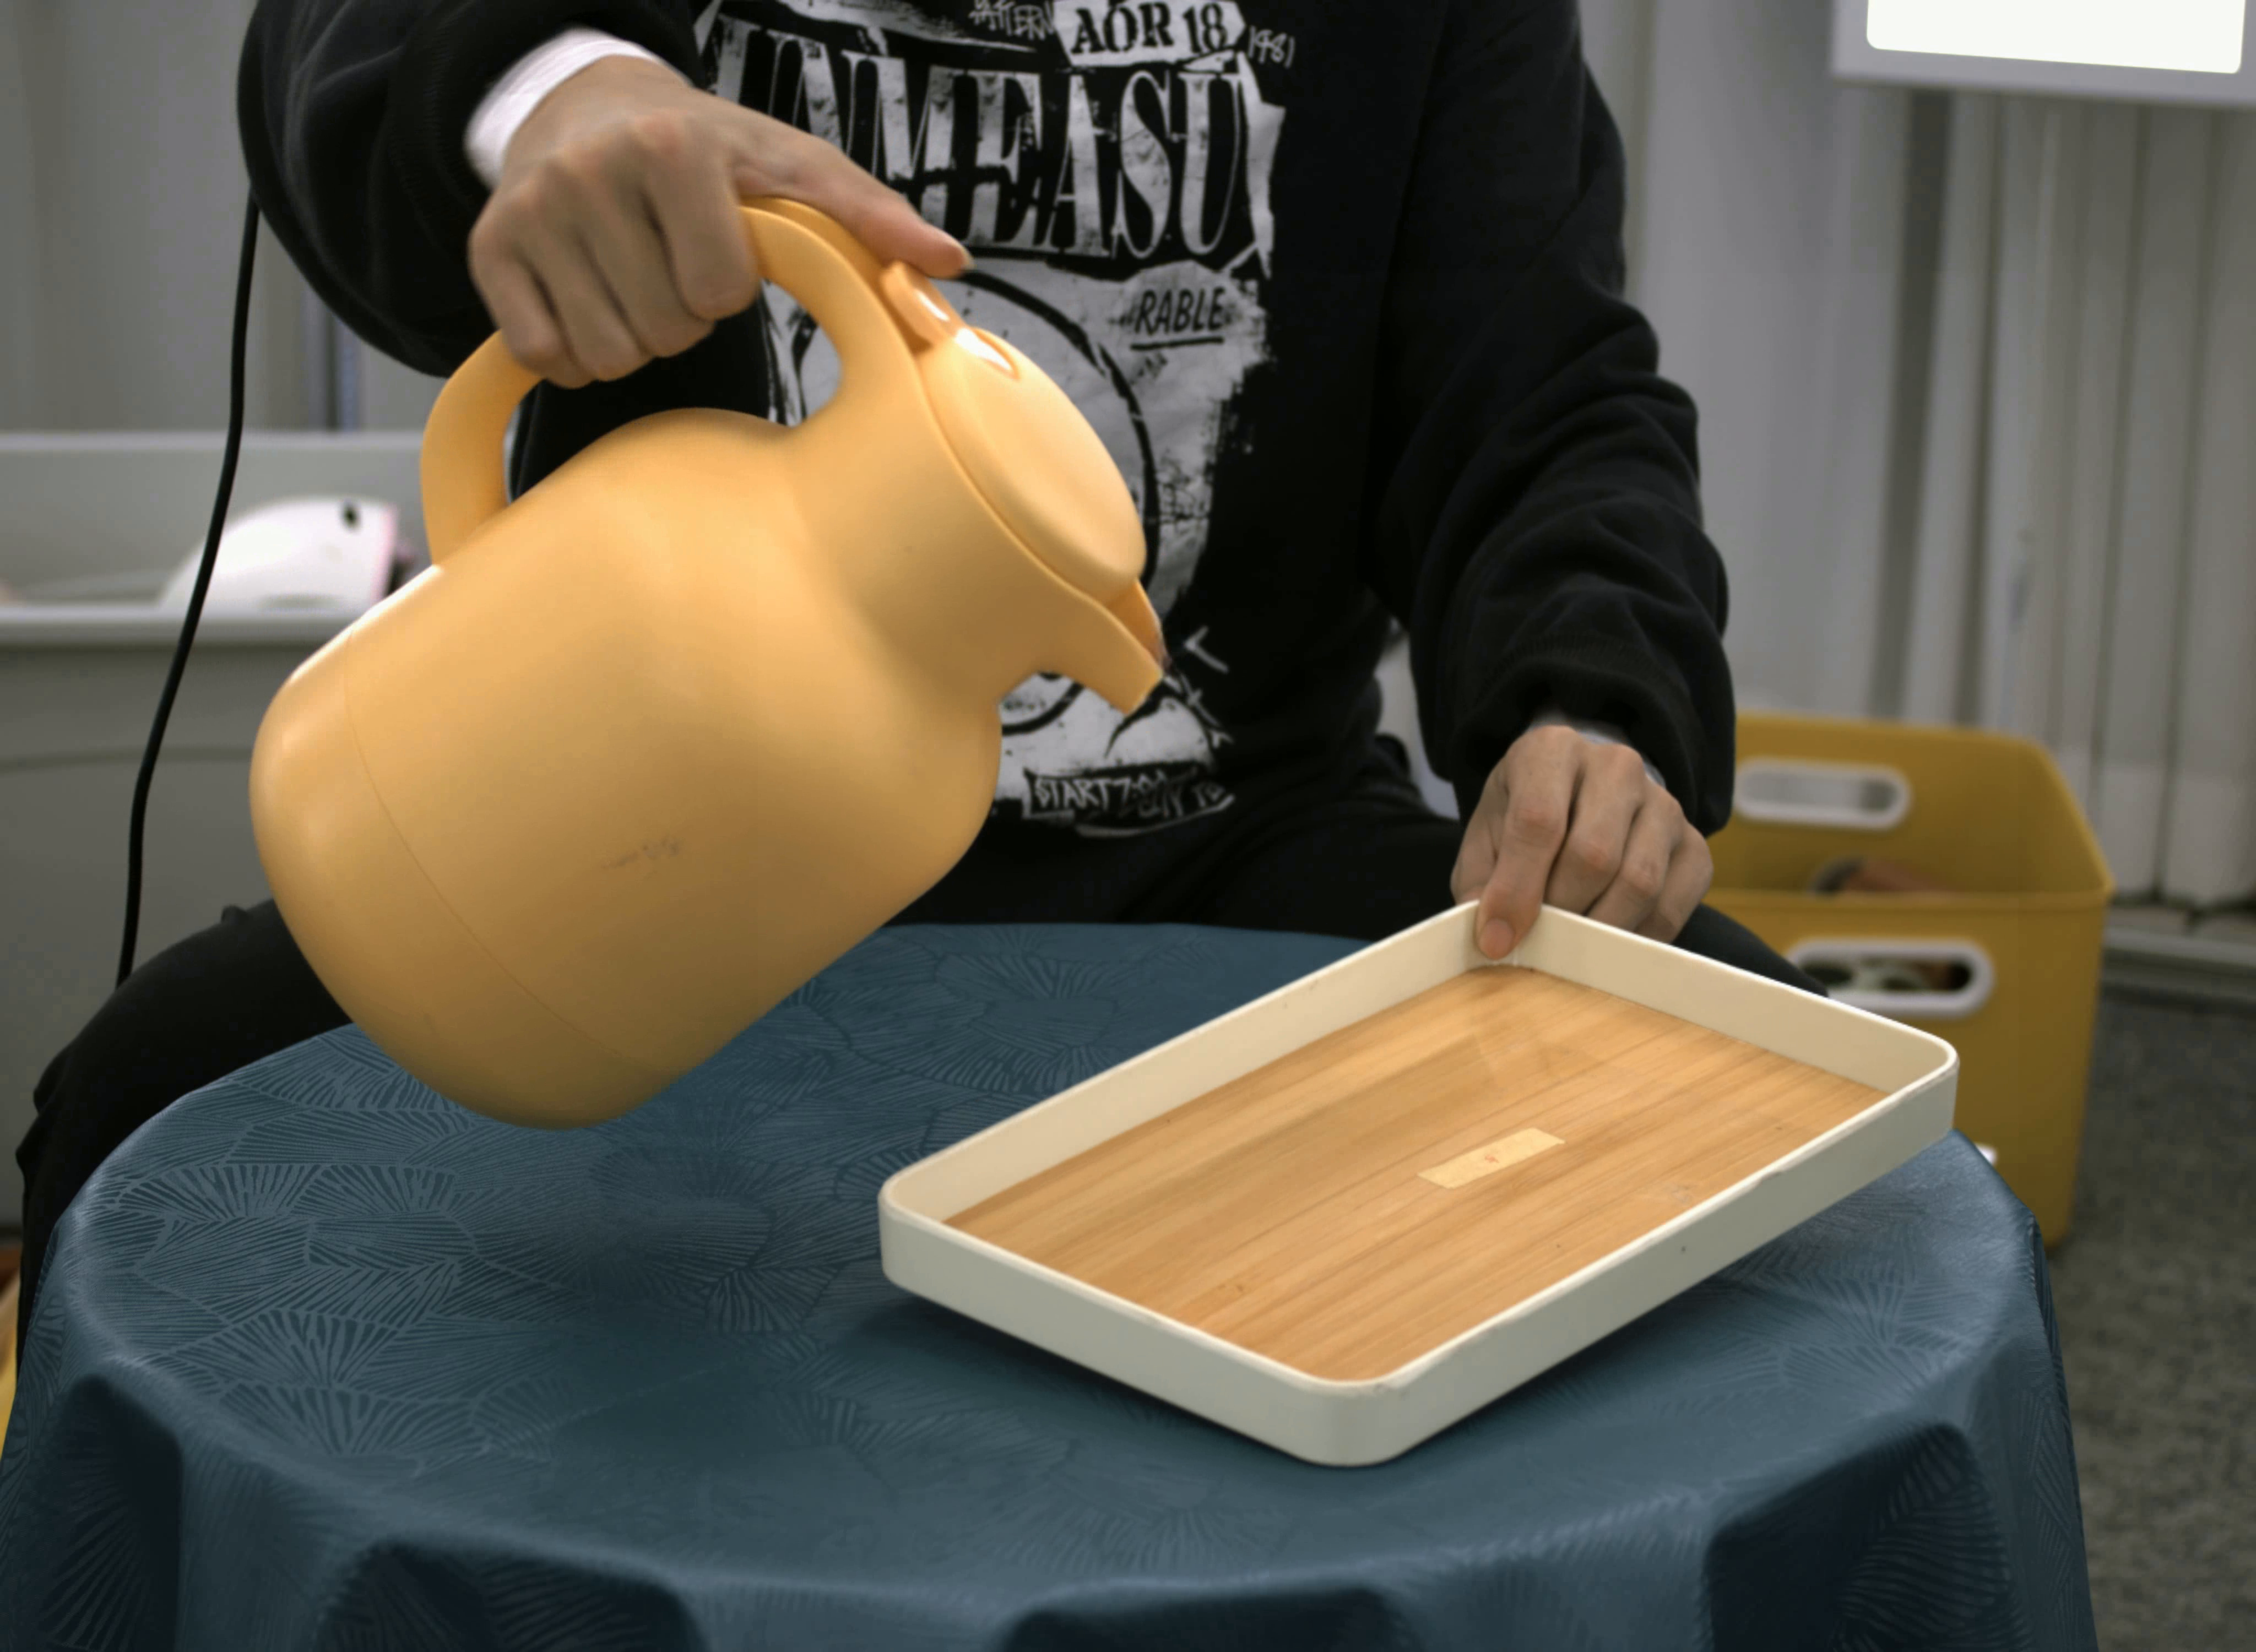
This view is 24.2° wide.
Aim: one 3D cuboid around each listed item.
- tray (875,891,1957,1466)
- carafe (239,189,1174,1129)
[{"bbox_3d":[0.089,0.097,1.556,0.189,0.027,0.301,20,29,37],"label":"tray"},{"bbox_3d":[-0.127,-0.054,1.500,0.260,0.203,0.163,-34,2,15],"label":"carafe"}]
